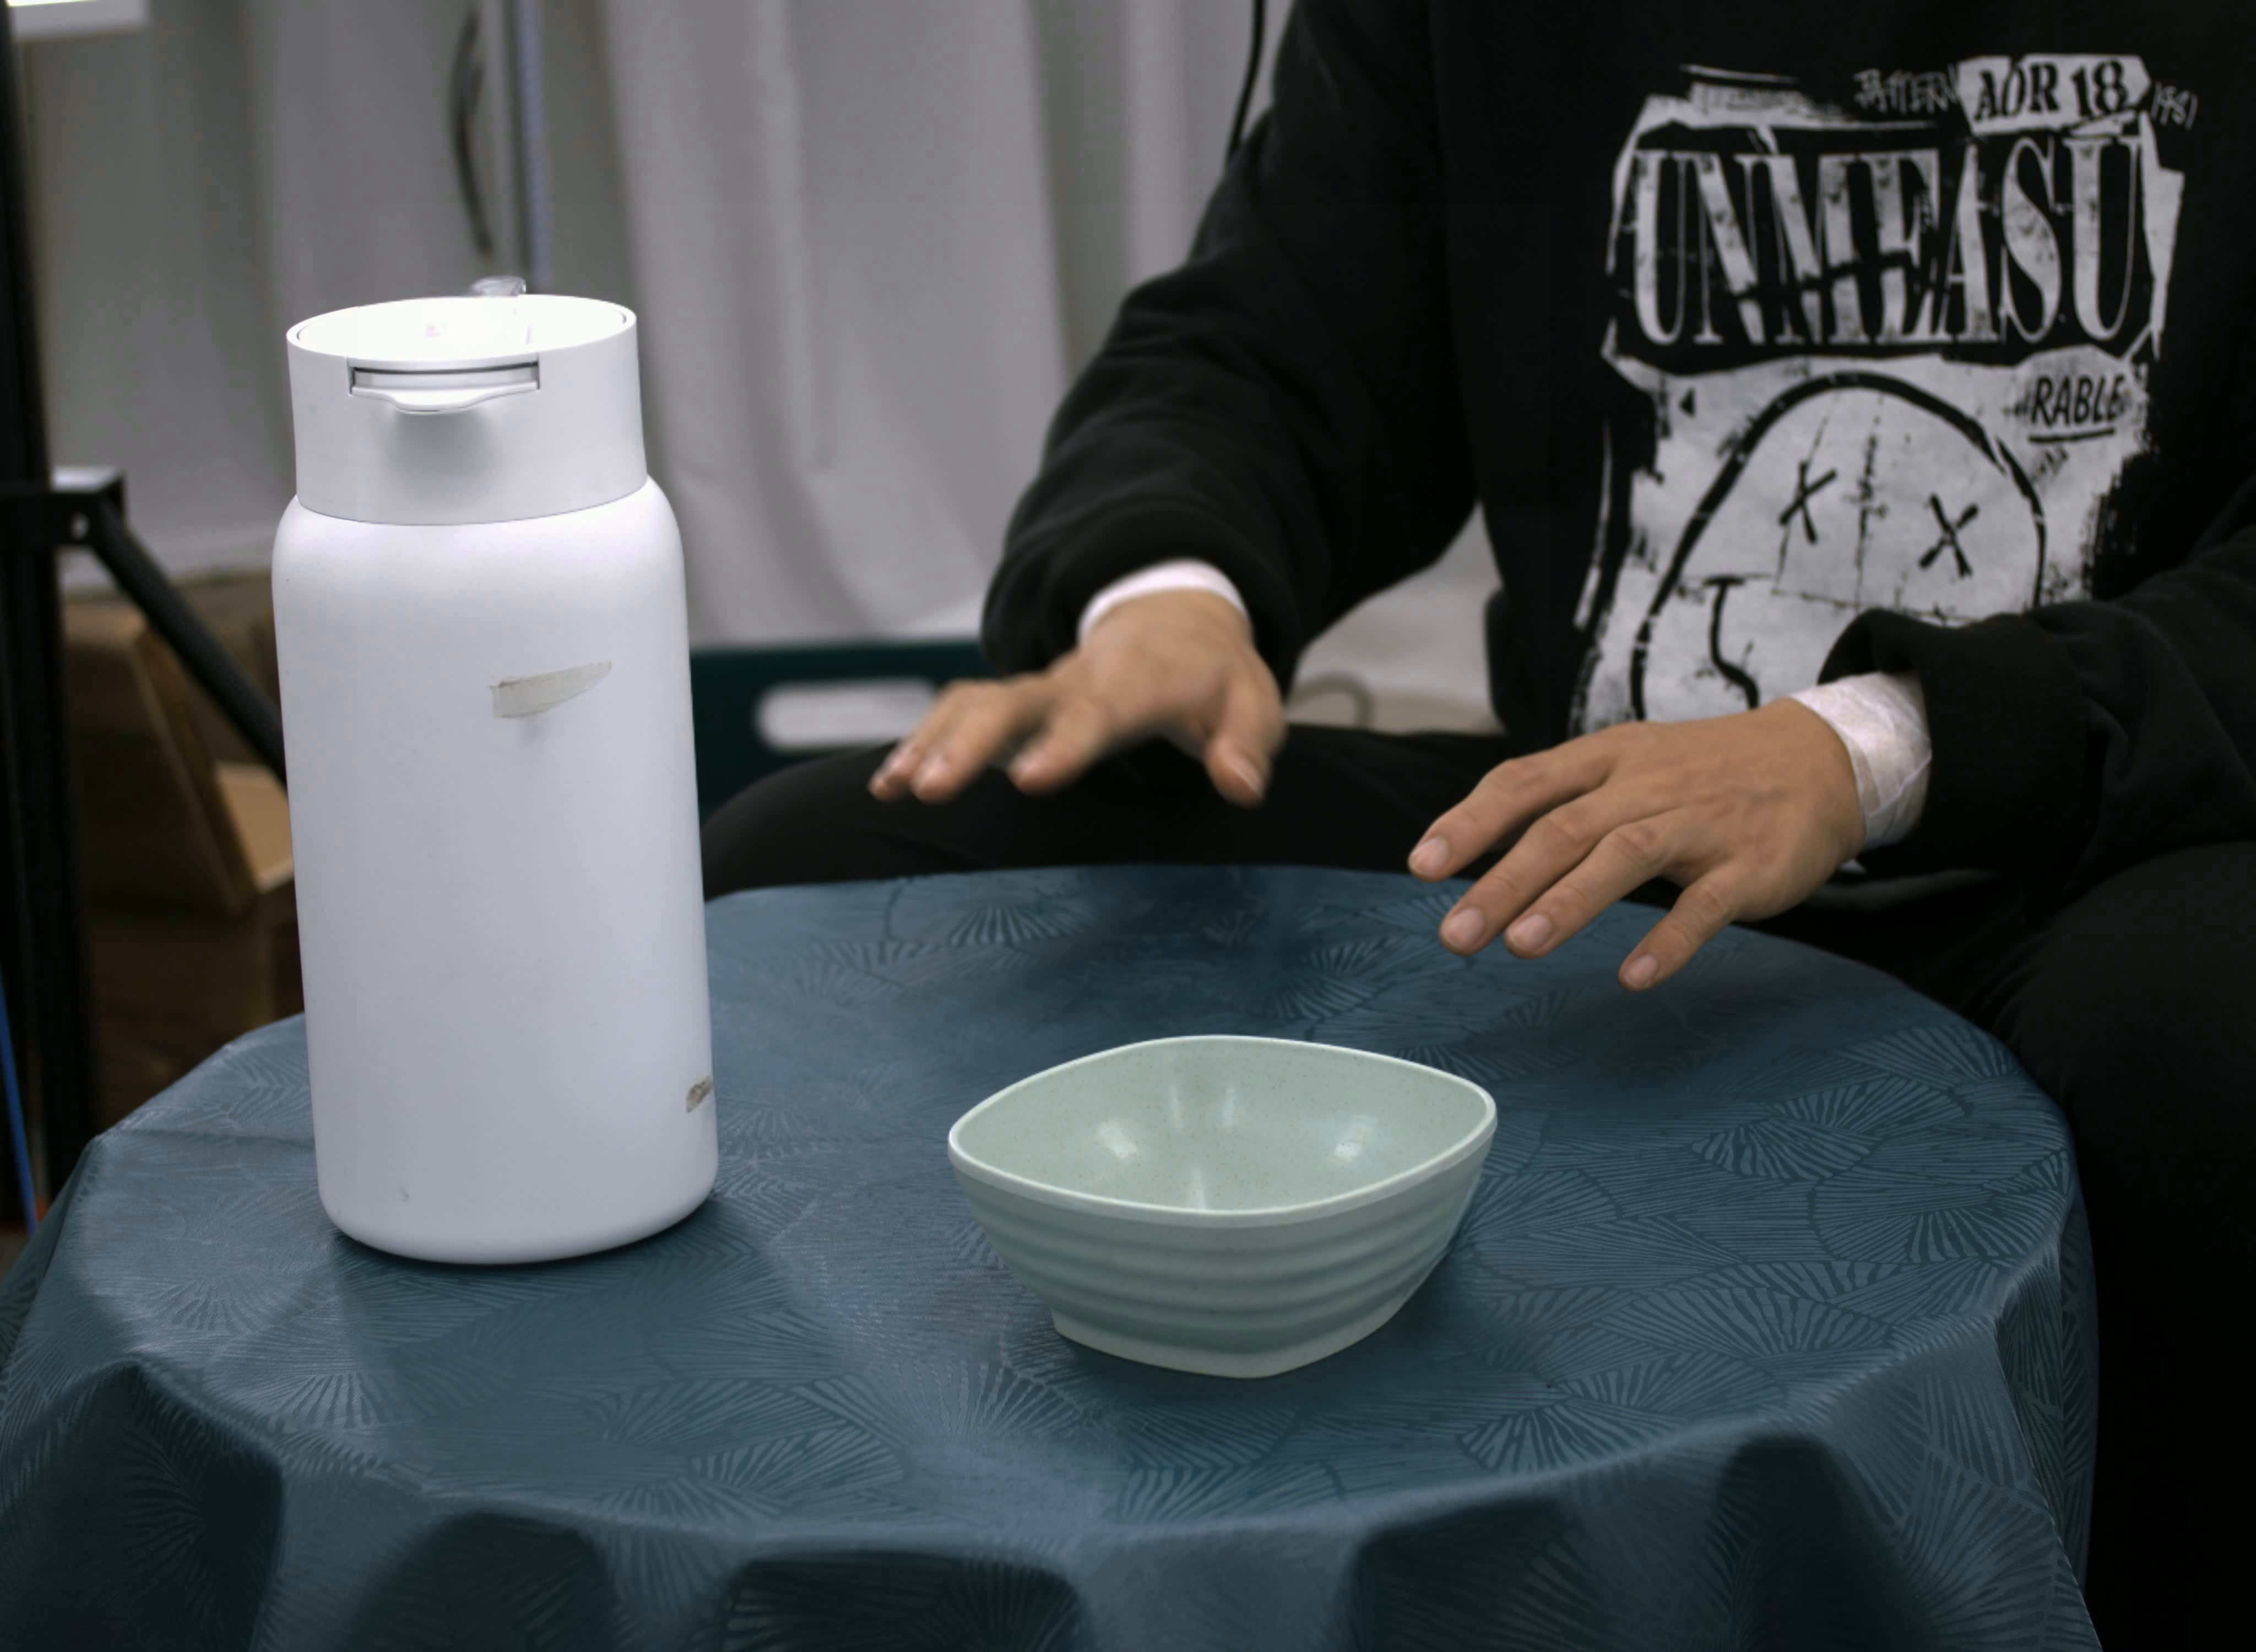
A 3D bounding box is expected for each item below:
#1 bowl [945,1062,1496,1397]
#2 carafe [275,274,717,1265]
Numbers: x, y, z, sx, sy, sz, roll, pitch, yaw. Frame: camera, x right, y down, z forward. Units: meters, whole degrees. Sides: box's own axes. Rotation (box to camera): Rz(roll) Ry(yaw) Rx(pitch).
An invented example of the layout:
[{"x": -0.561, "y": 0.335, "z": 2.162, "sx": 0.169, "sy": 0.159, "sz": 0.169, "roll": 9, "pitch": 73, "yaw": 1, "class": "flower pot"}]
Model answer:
[{"x": 0.026, "y": 0.113, "z": 1.448, "sx": 0.150, "sy": 0.059, "sz": 0.152, "roll": -2, "pitch": 13, "yaw": -1, "class": "bowl"}, {"x": -0.183, "y": -0.021, "z": 1.552, "sx": 0.123, "sy": 0.269, "sz": 0.173, "roll": -4, "pitch": 15, "yaw": 2, "class": "carafe"}]
